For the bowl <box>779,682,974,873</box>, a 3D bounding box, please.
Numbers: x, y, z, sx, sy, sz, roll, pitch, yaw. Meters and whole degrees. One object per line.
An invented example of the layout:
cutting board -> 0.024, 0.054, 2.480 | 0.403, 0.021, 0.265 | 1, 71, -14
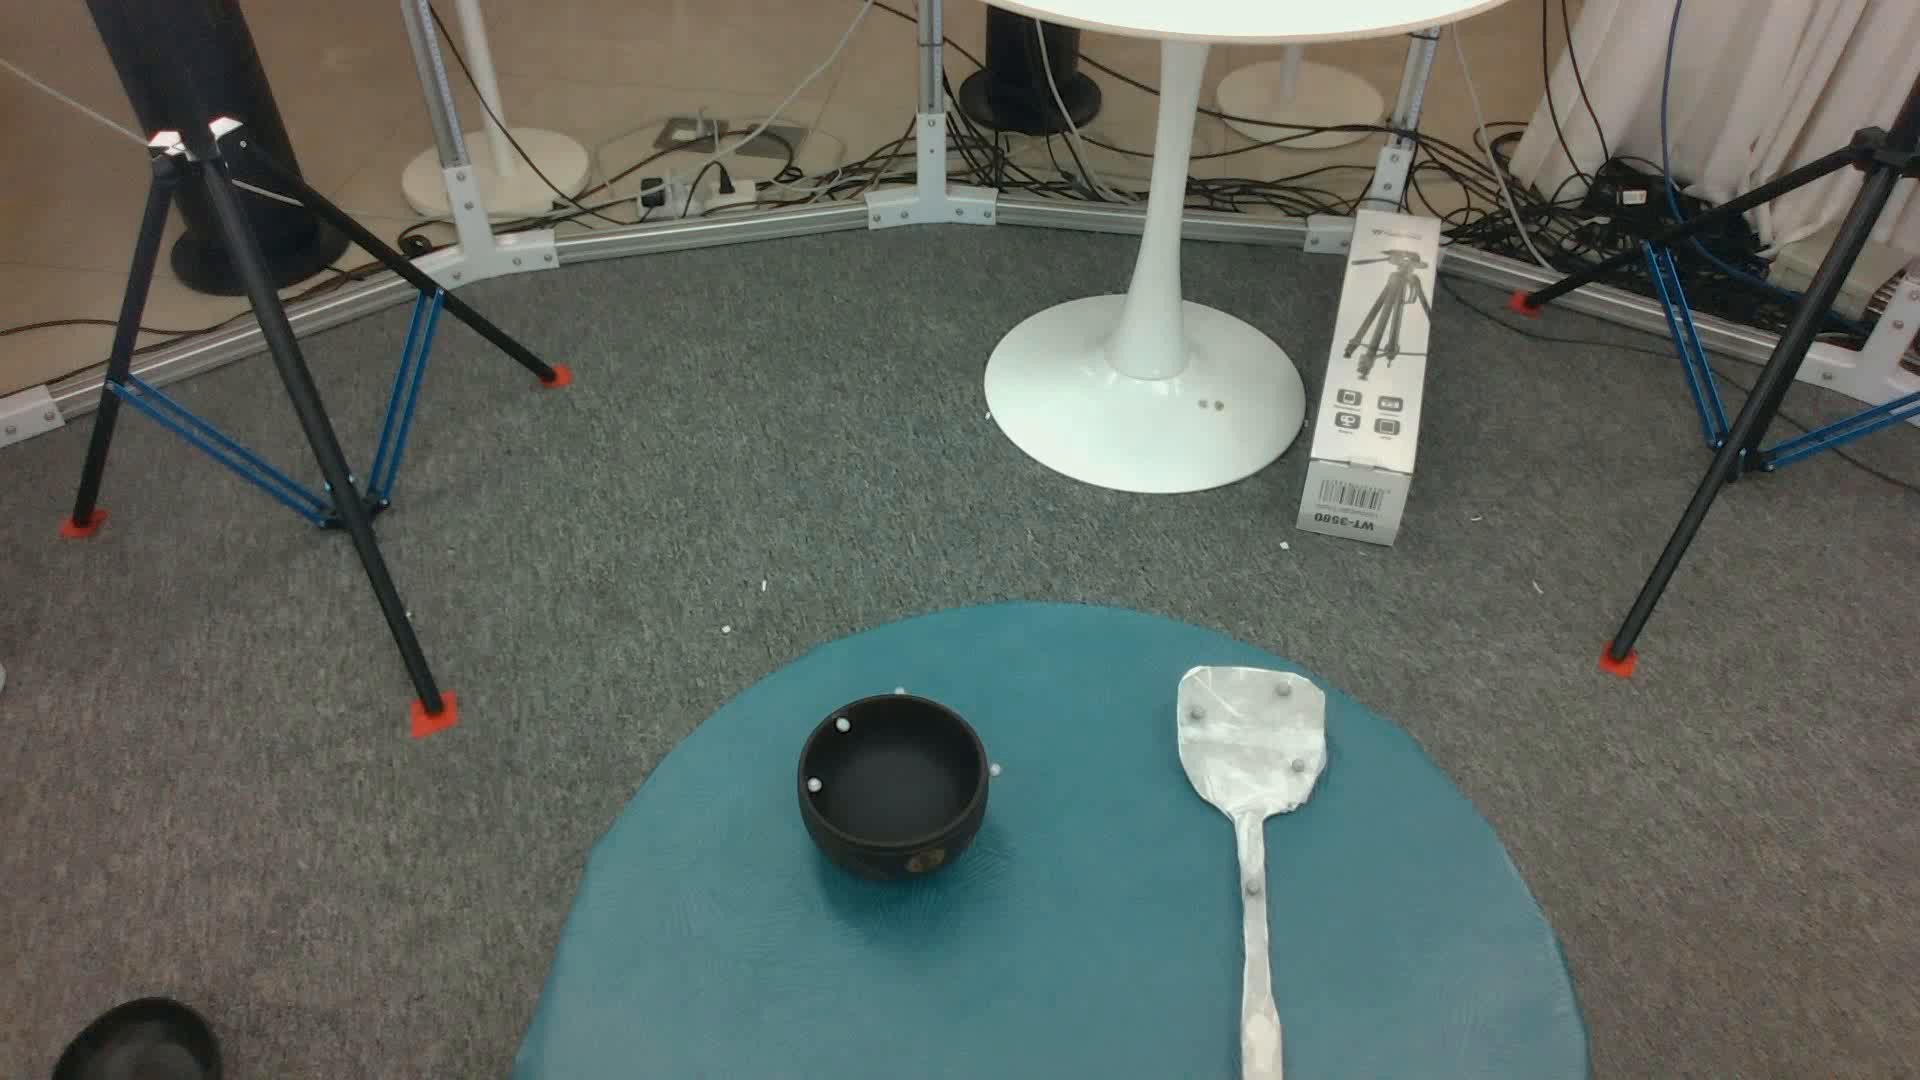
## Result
bowl -> -0.051, 0.153, 0.851 | 0.118, 0.069, 0.118 | 0, 46, 0

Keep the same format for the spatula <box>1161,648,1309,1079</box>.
spatula -> 0.162, 0.216, 0.818 | 0.098, 0.044, 0.367 | 8, 44, 3
